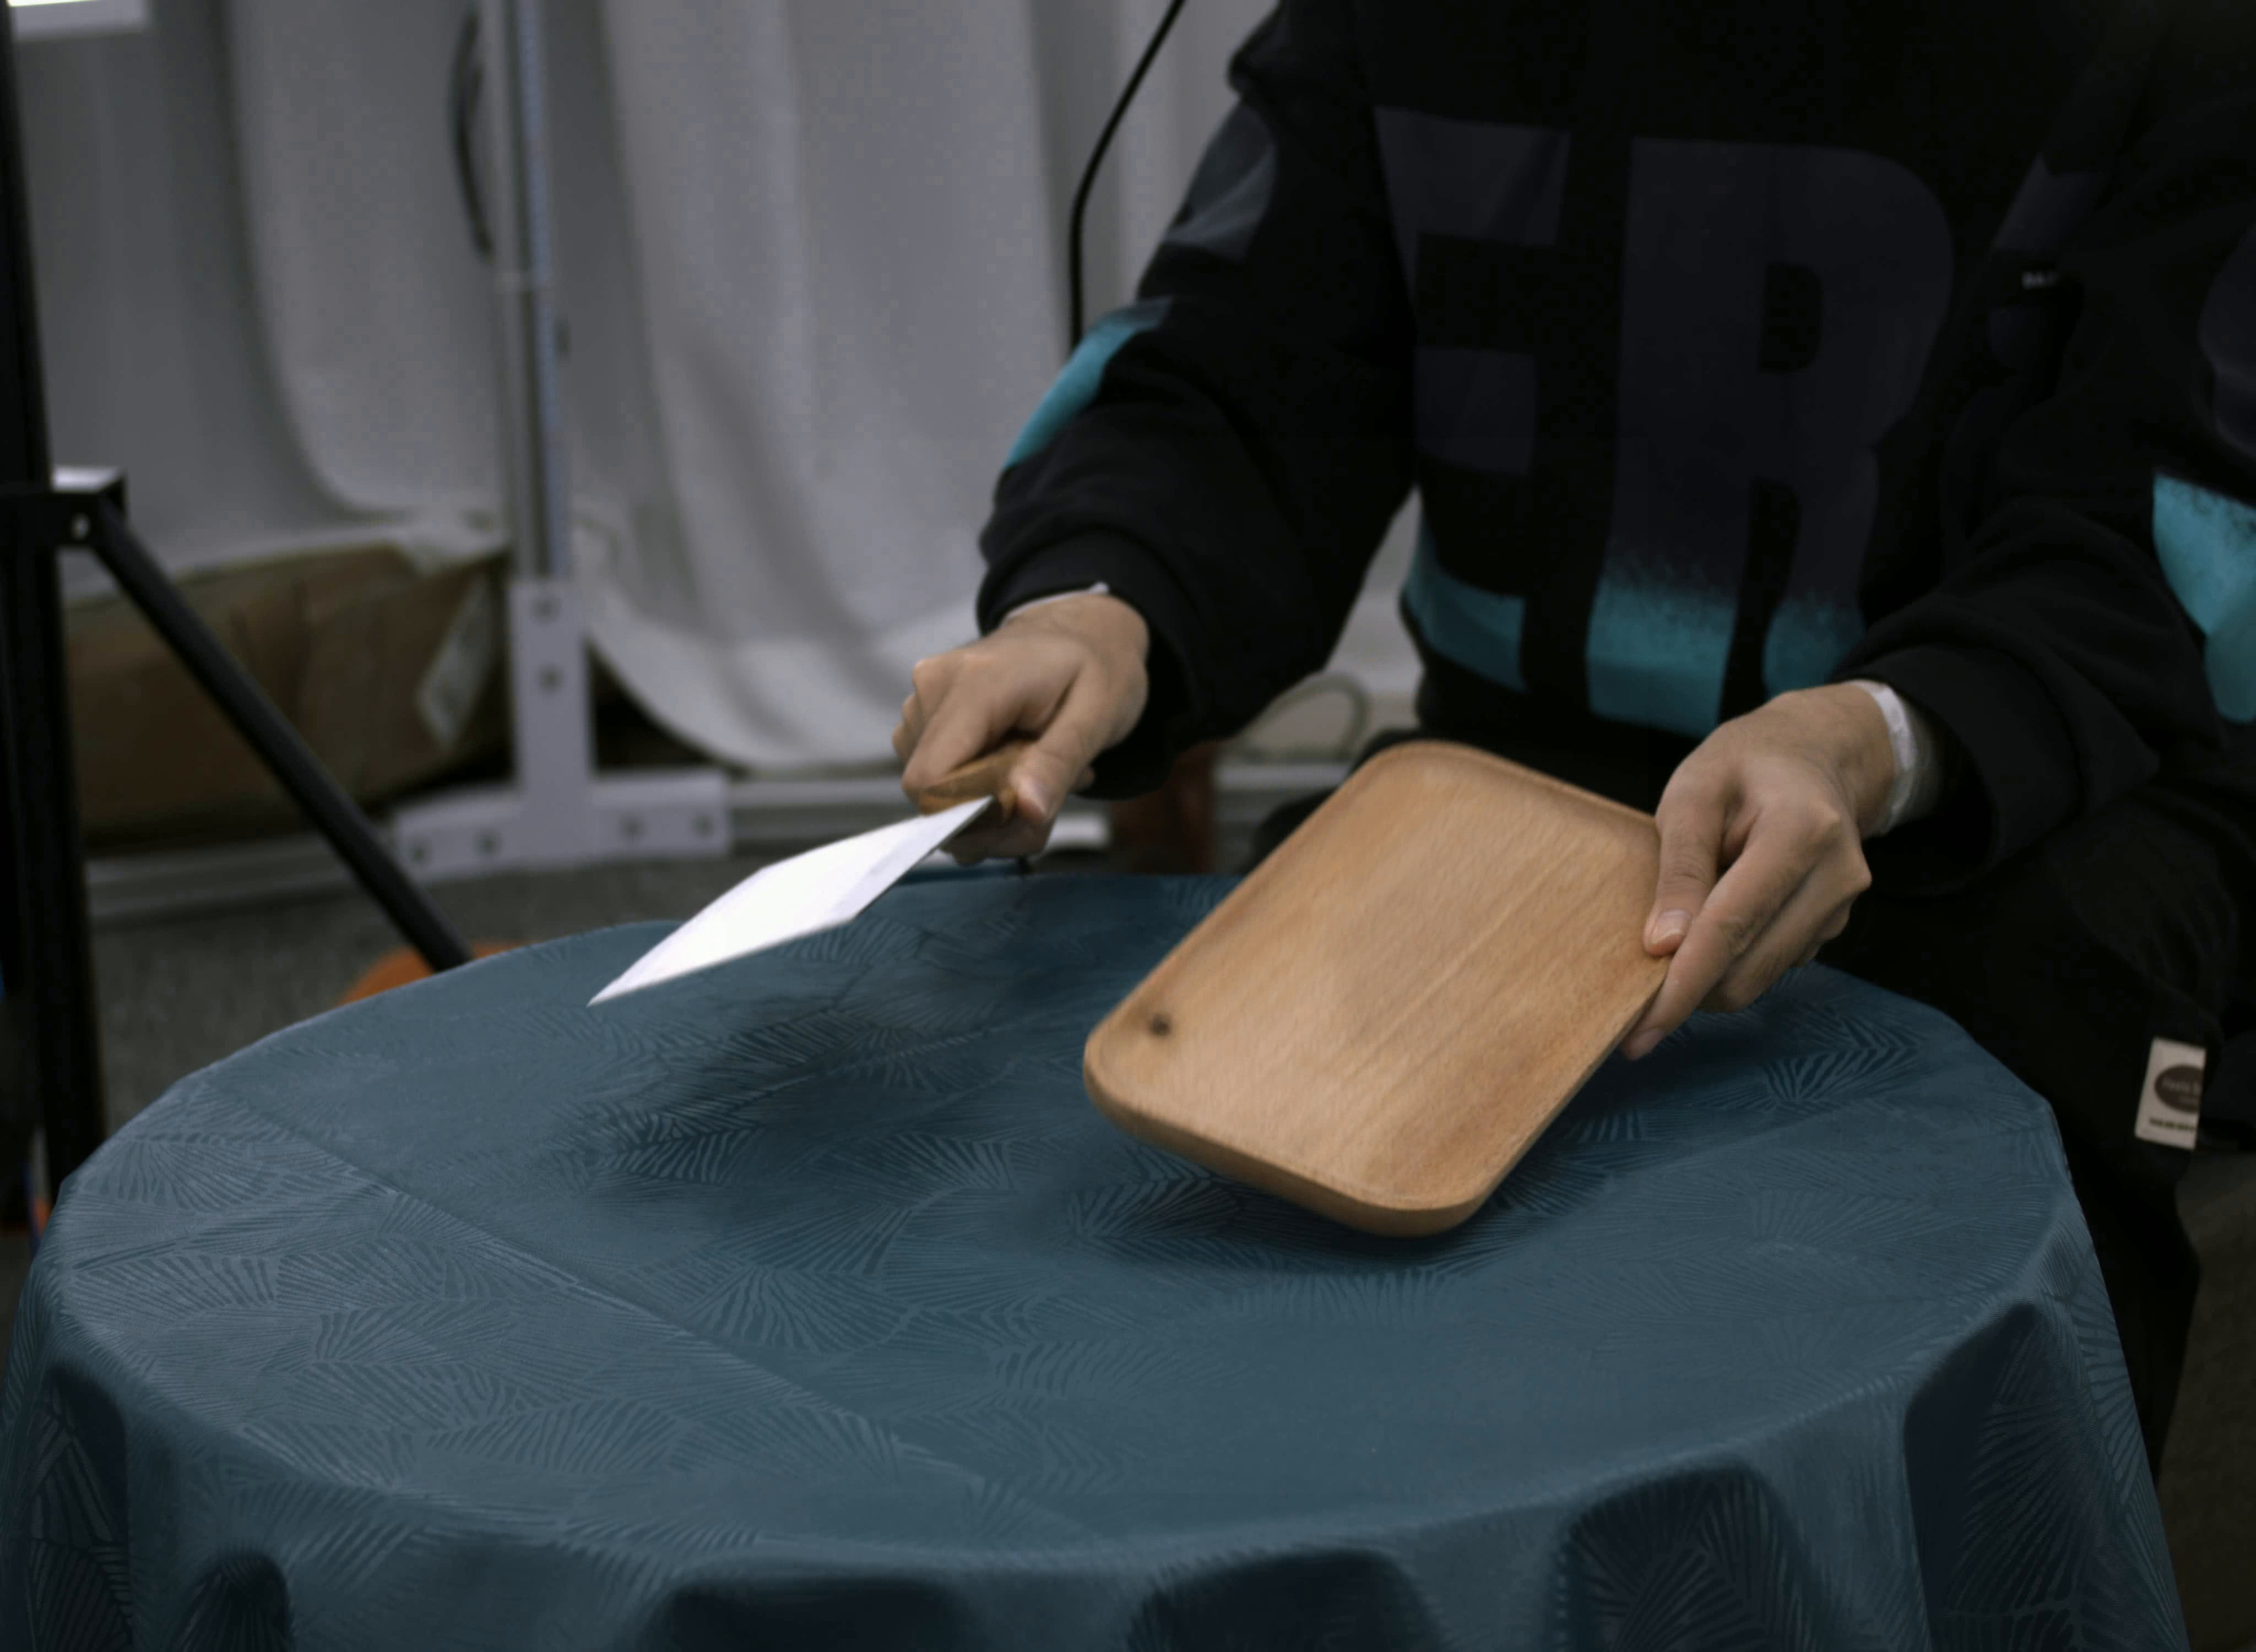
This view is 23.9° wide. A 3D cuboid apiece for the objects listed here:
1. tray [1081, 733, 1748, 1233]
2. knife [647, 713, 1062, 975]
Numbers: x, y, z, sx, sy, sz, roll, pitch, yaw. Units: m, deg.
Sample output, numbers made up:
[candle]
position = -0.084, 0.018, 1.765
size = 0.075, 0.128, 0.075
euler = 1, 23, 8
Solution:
[tray]
position = 0.089, 0.044, 1.596
size = 0.132, 0.023, 0.247
euler = 26, 34, 19
[knife]
position = -0.087, 0.007, 1.717
size = 0.093, 0.021, 0.303
euler = -19, 7, 14
